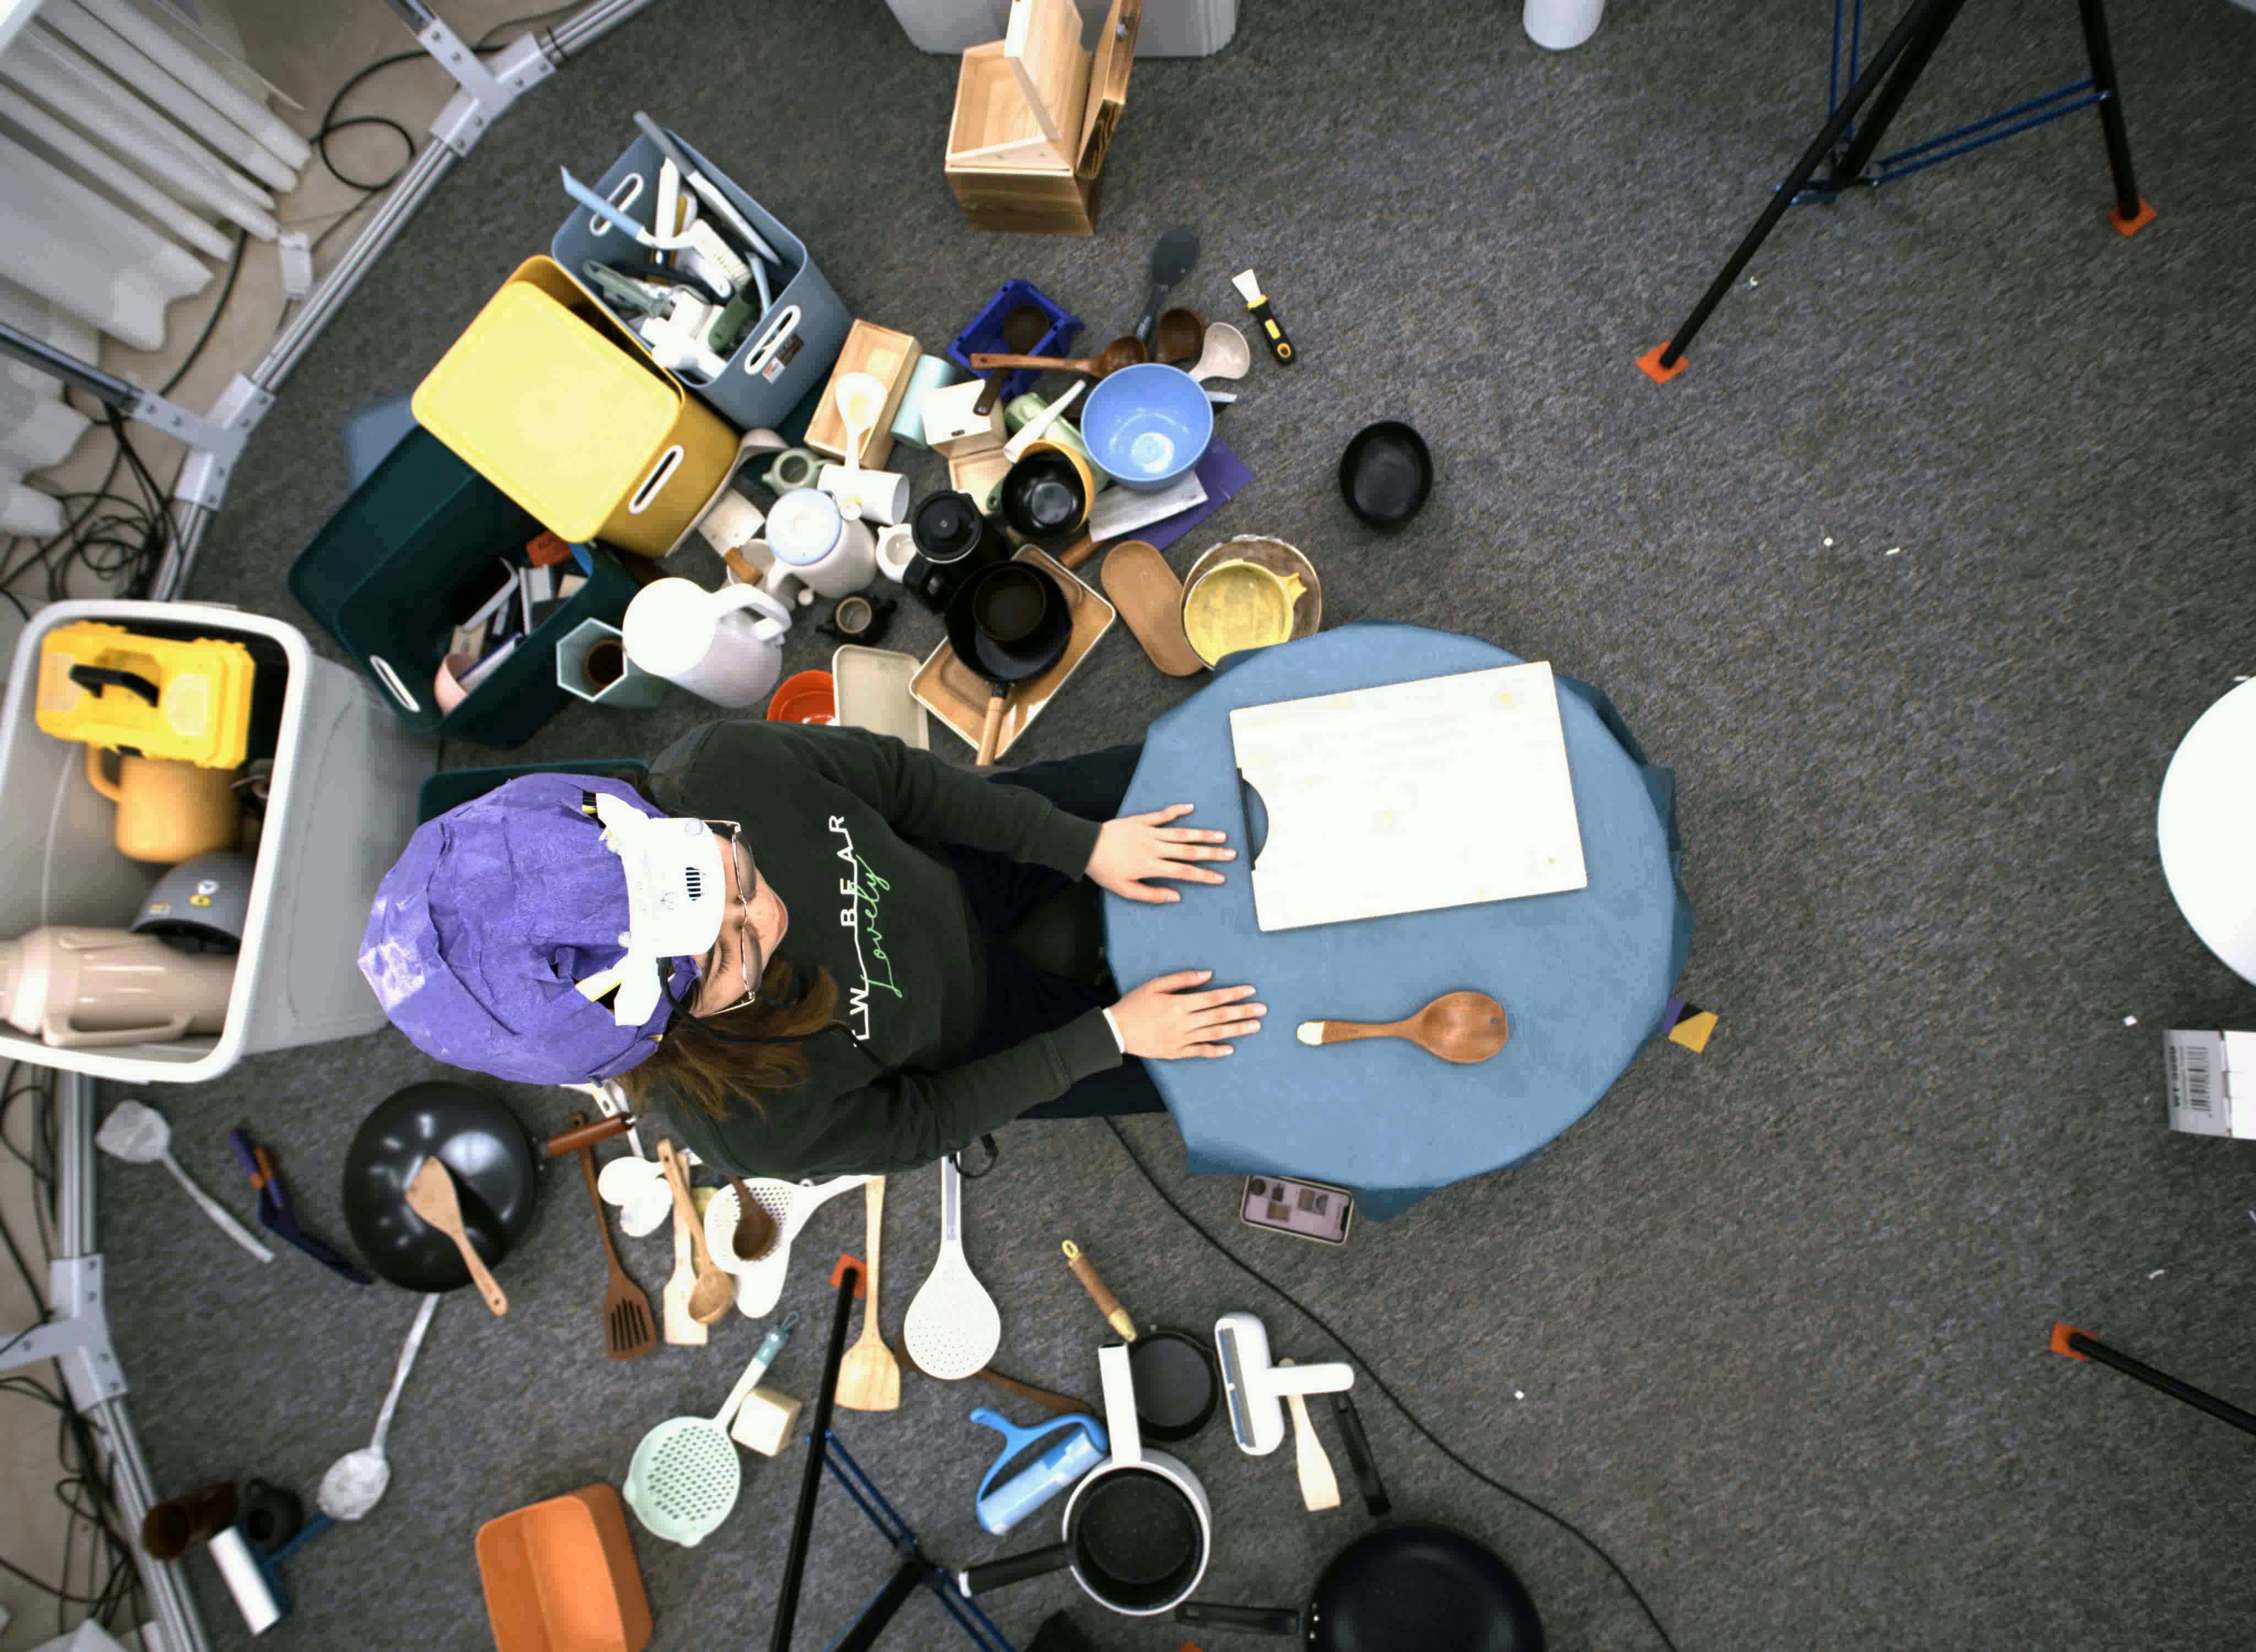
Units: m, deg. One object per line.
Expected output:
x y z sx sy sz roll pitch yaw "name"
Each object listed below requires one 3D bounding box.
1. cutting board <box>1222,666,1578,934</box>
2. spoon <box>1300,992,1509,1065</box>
0.287 -0.028 1.460 0.350 0.023 0.249 -9 84 10 "cutting board"
0.287 0.212 1.443 0.217 0.017 0.075 -4 87 10 "spoon"
